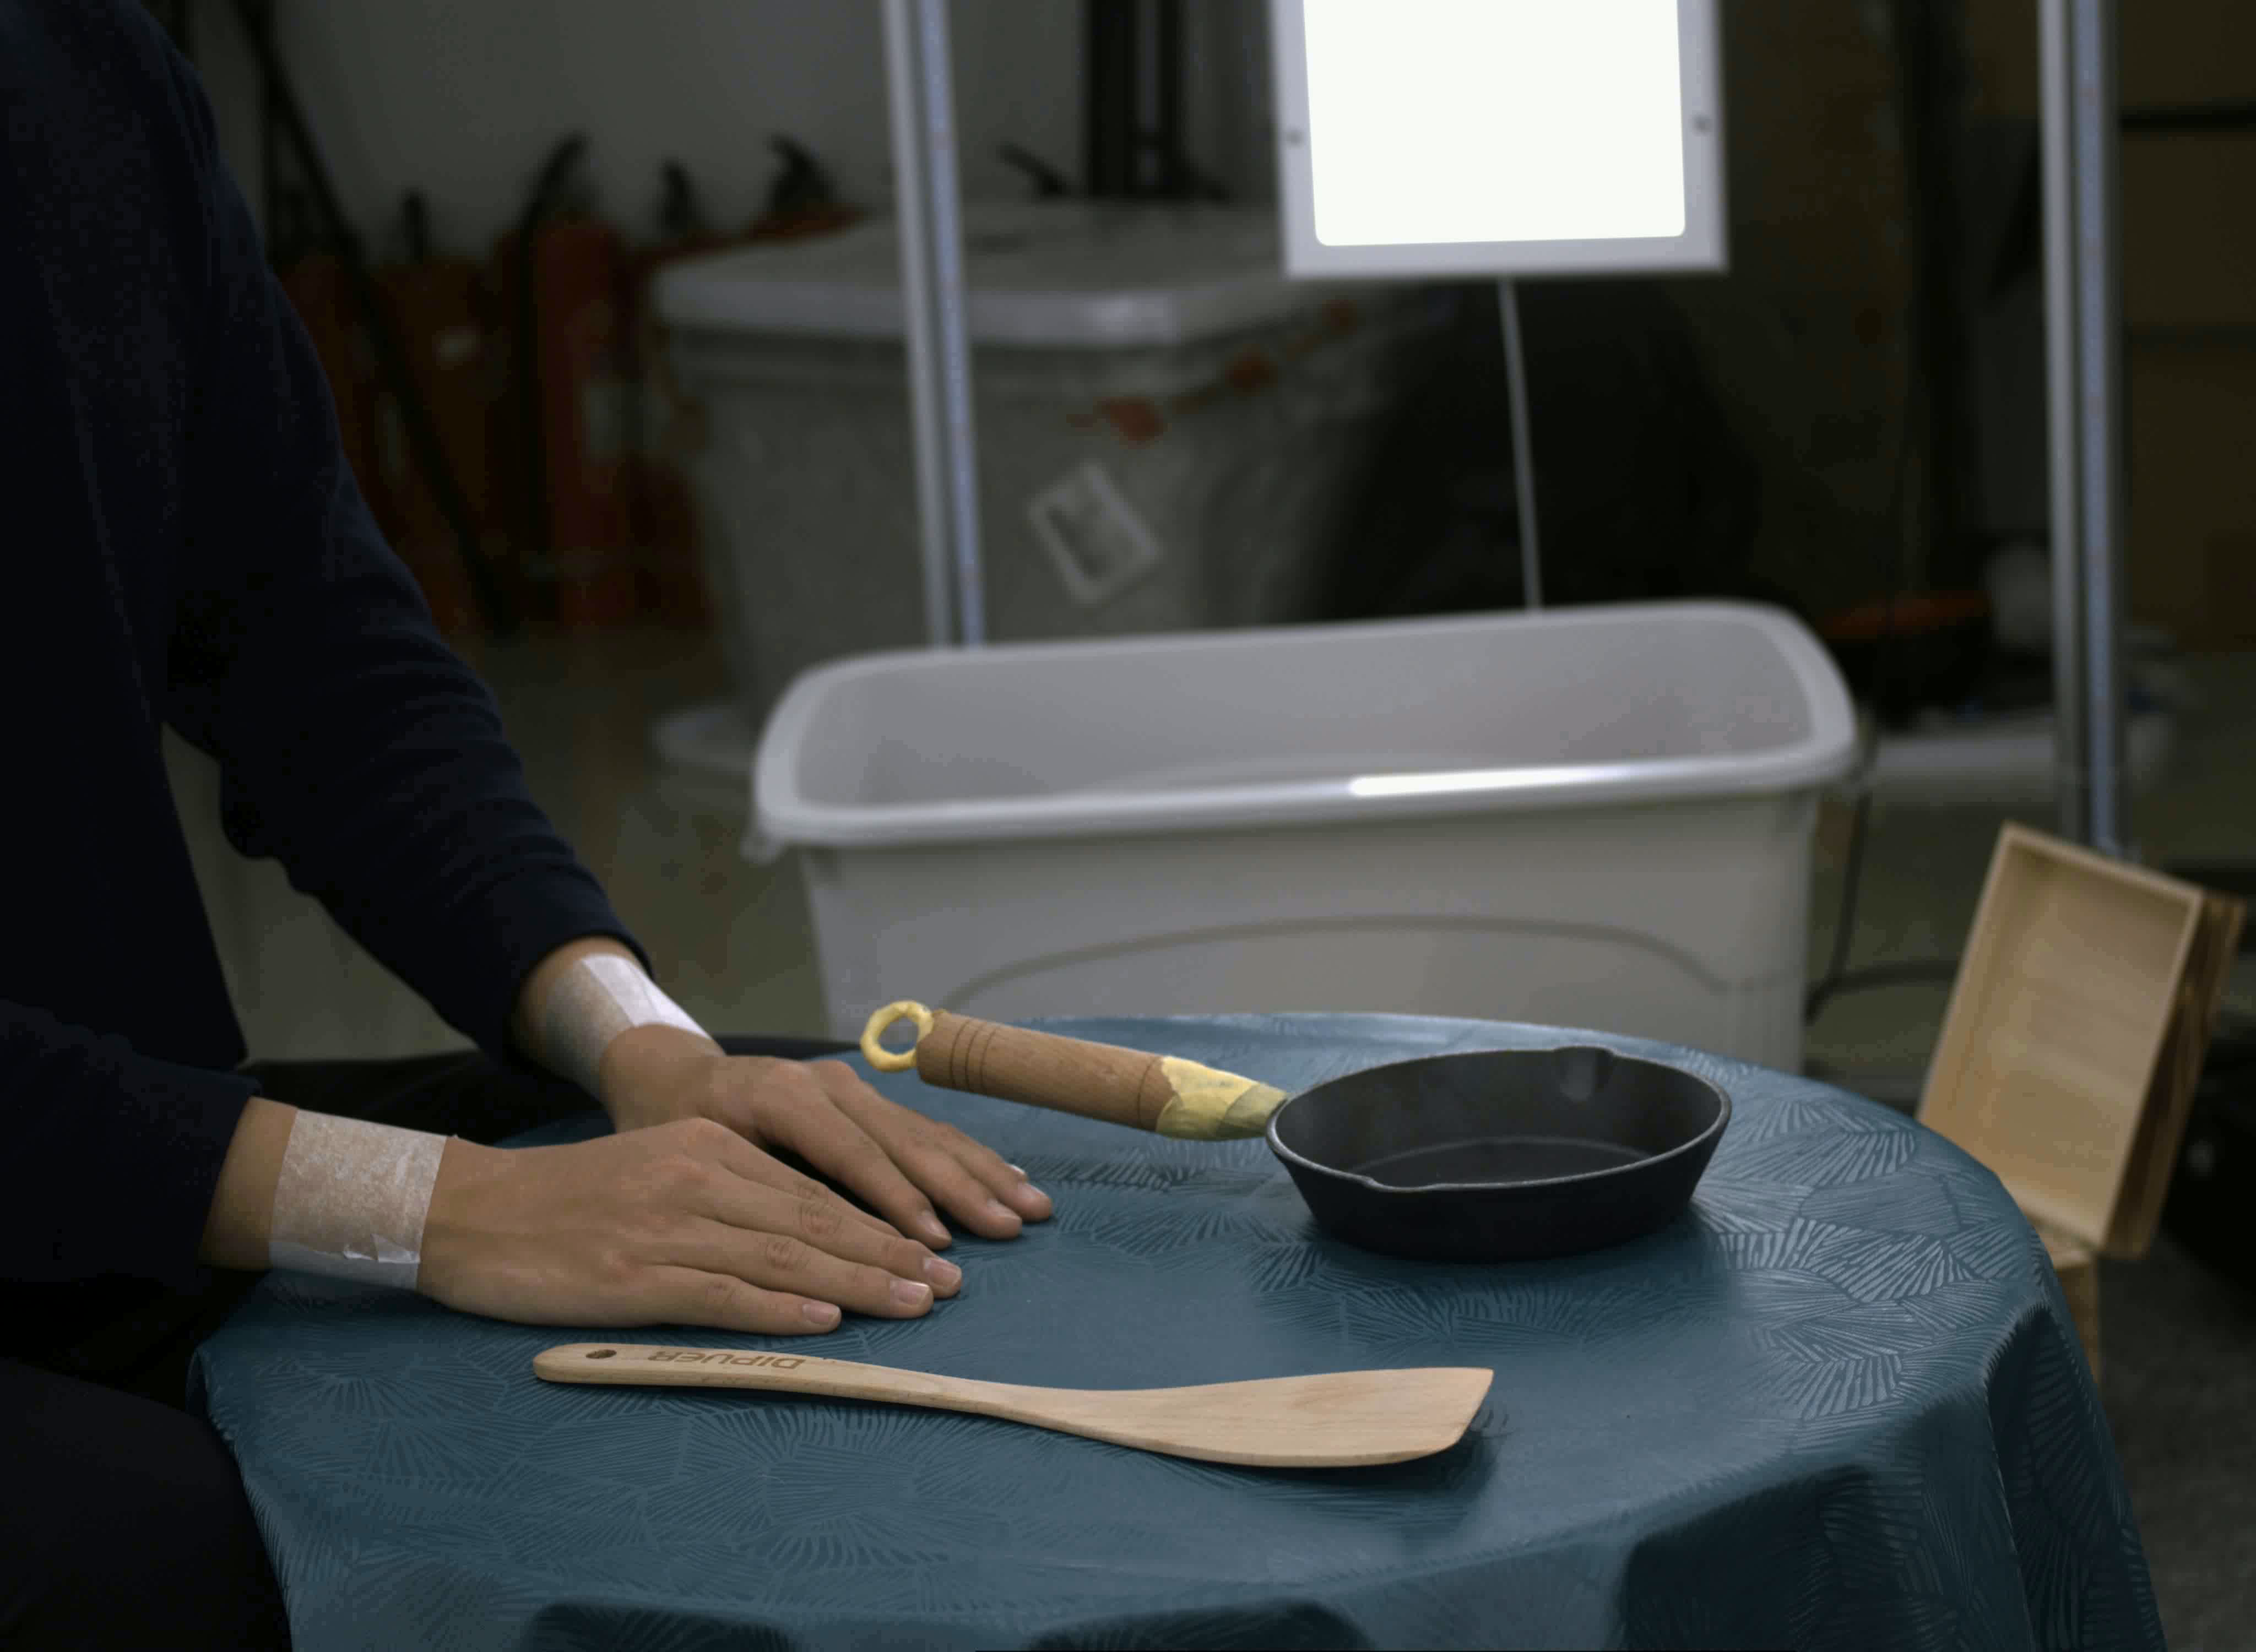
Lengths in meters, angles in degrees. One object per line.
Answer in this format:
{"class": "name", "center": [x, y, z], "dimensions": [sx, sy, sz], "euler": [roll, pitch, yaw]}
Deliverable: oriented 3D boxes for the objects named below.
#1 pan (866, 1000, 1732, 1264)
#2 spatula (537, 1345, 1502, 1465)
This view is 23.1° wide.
{"class": "pan", "center": [0.052, 0.098, 1.887], "dimensions": [0.330, 0.050, 0.165], "euler": [5, 17, 31]}
{"class": "spatula", "center": [-0.038, 0.172, 1.693], "dimensions": [0.333, 0.016, 0.078], "euler": [2, 15, 26]}
